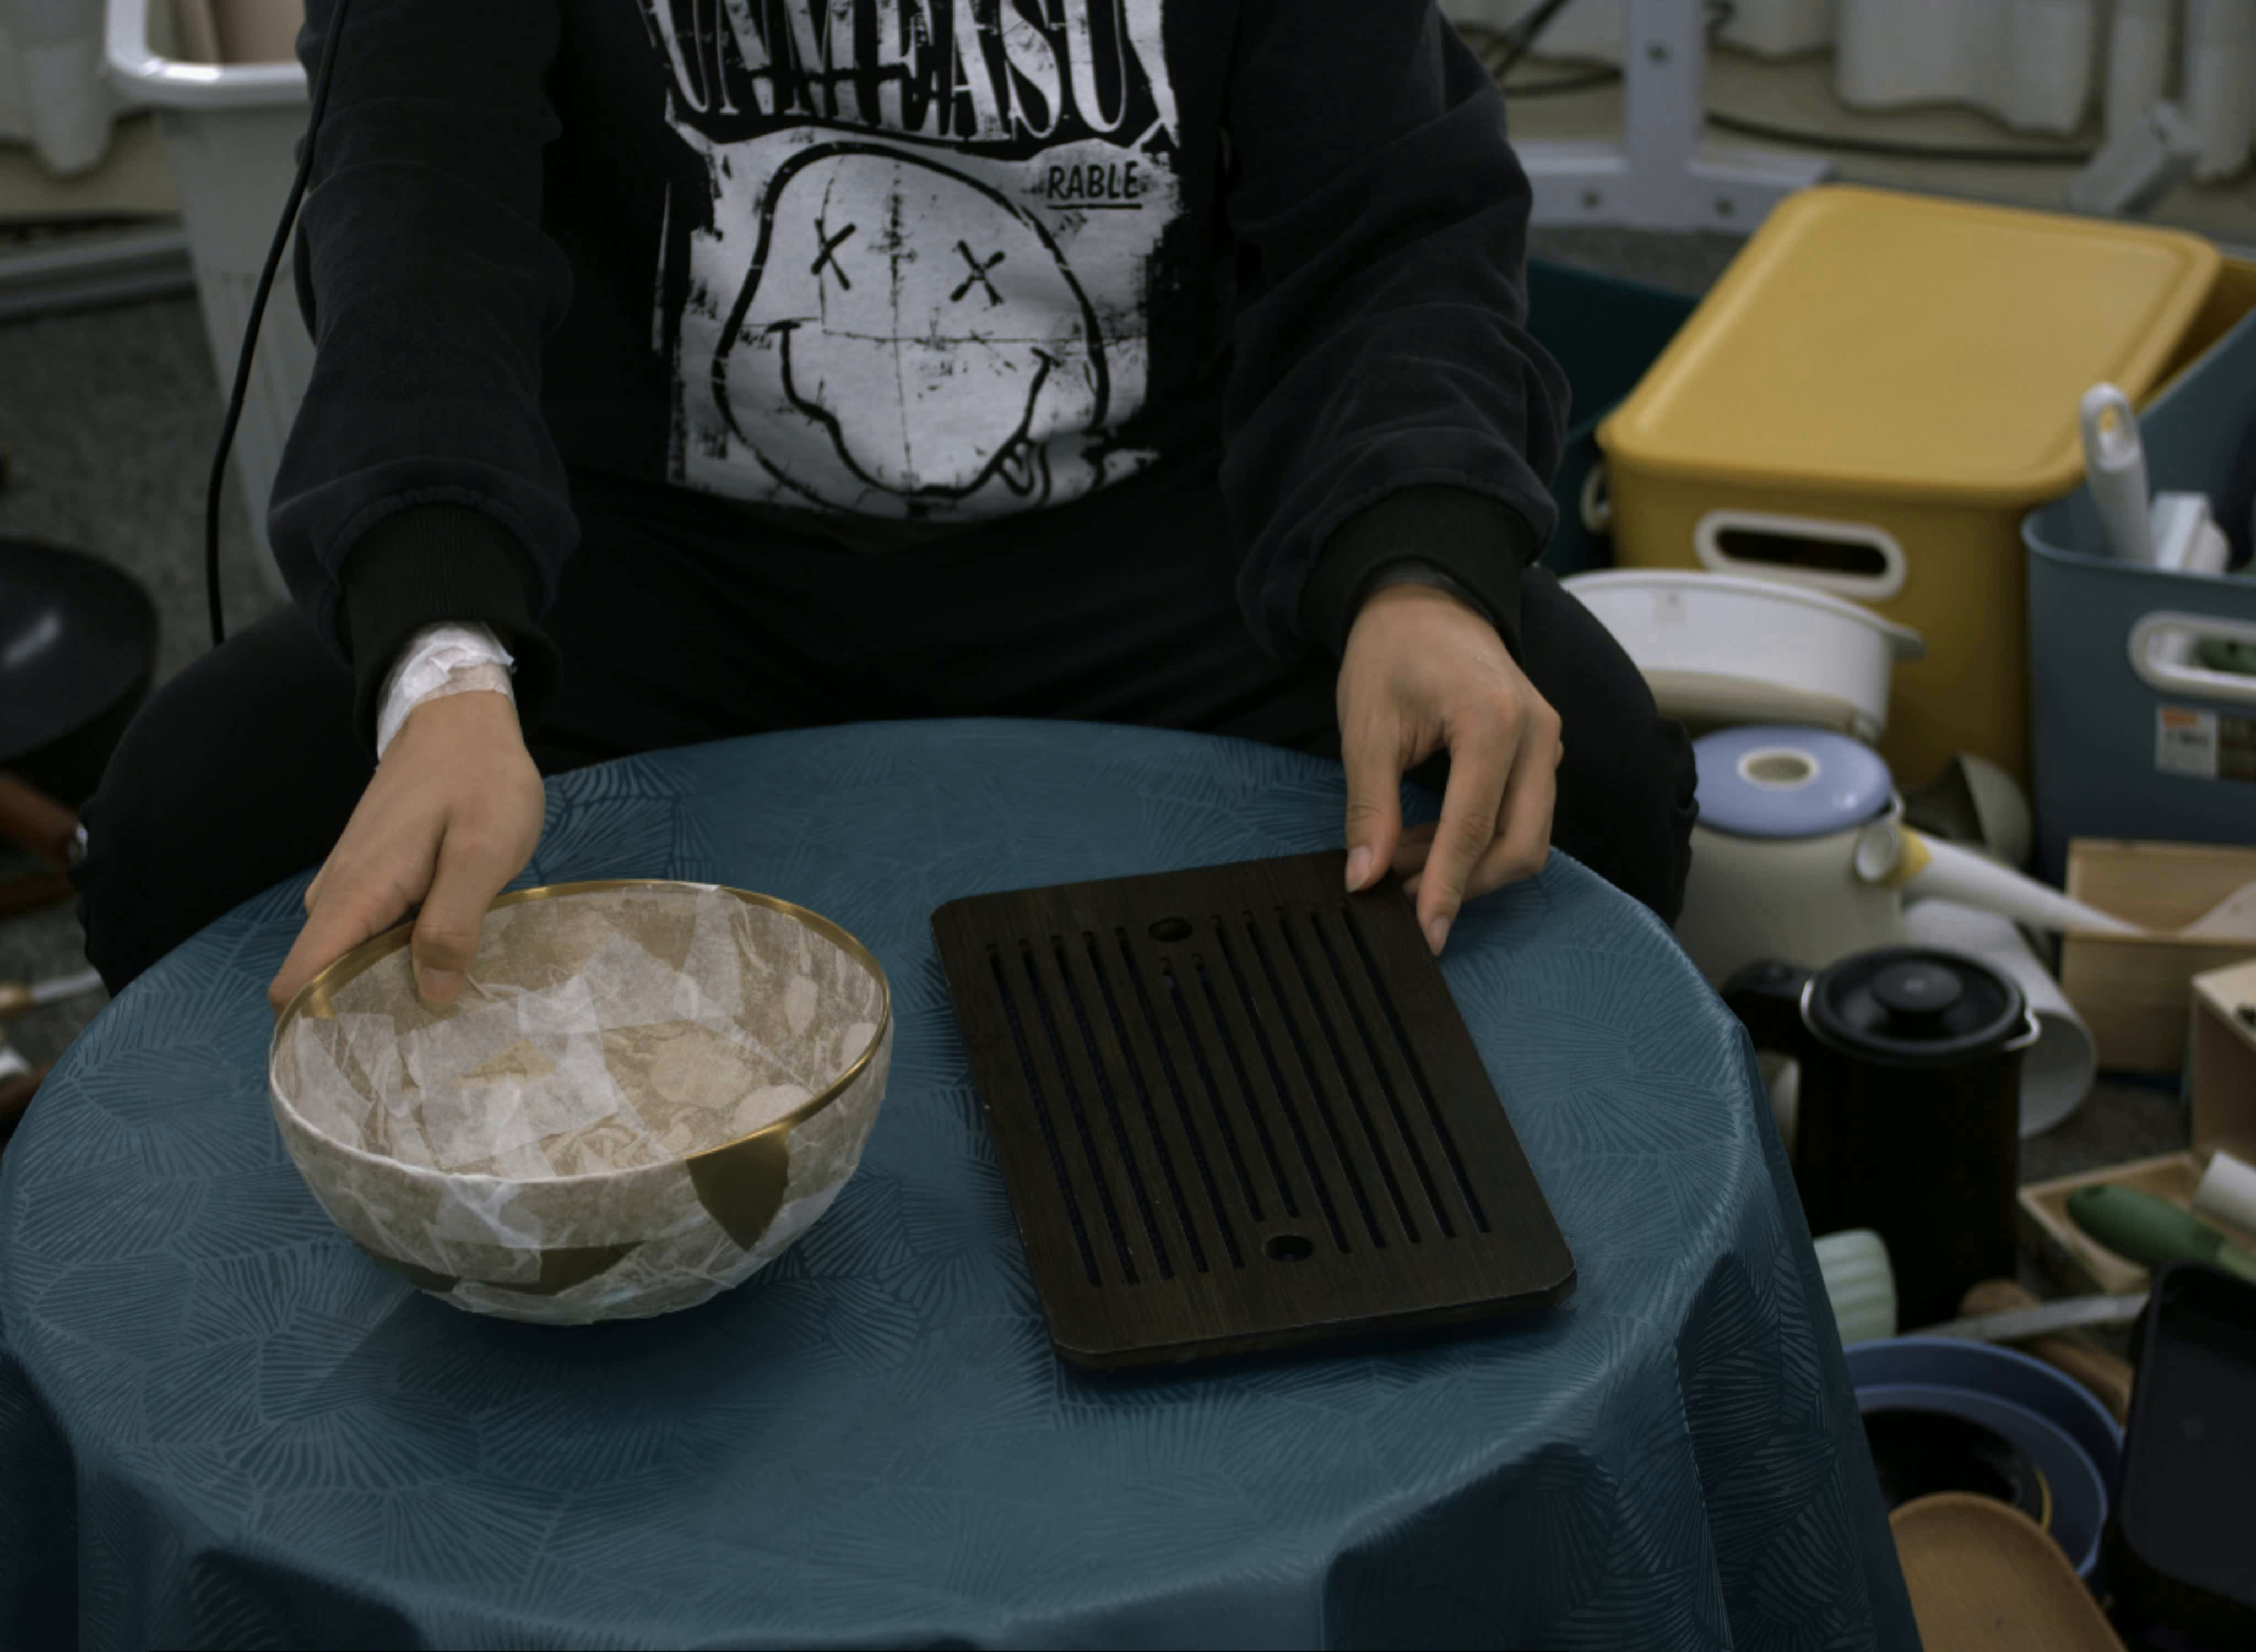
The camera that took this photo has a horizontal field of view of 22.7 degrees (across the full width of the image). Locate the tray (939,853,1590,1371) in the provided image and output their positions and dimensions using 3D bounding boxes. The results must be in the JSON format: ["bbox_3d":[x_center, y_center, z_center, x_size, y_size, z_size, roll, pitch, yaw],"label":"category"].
[{"bbox_3d":[0.039,0.093,1.893,0.170,0.018,0.309,-7,27,-7],"label":"tray"}]

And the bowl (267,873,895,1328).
[{"bbox_3d":[-0.169,0.101,1.819,0.213,0.093,0.218,-3,26,2],"label":"bowl"}]
